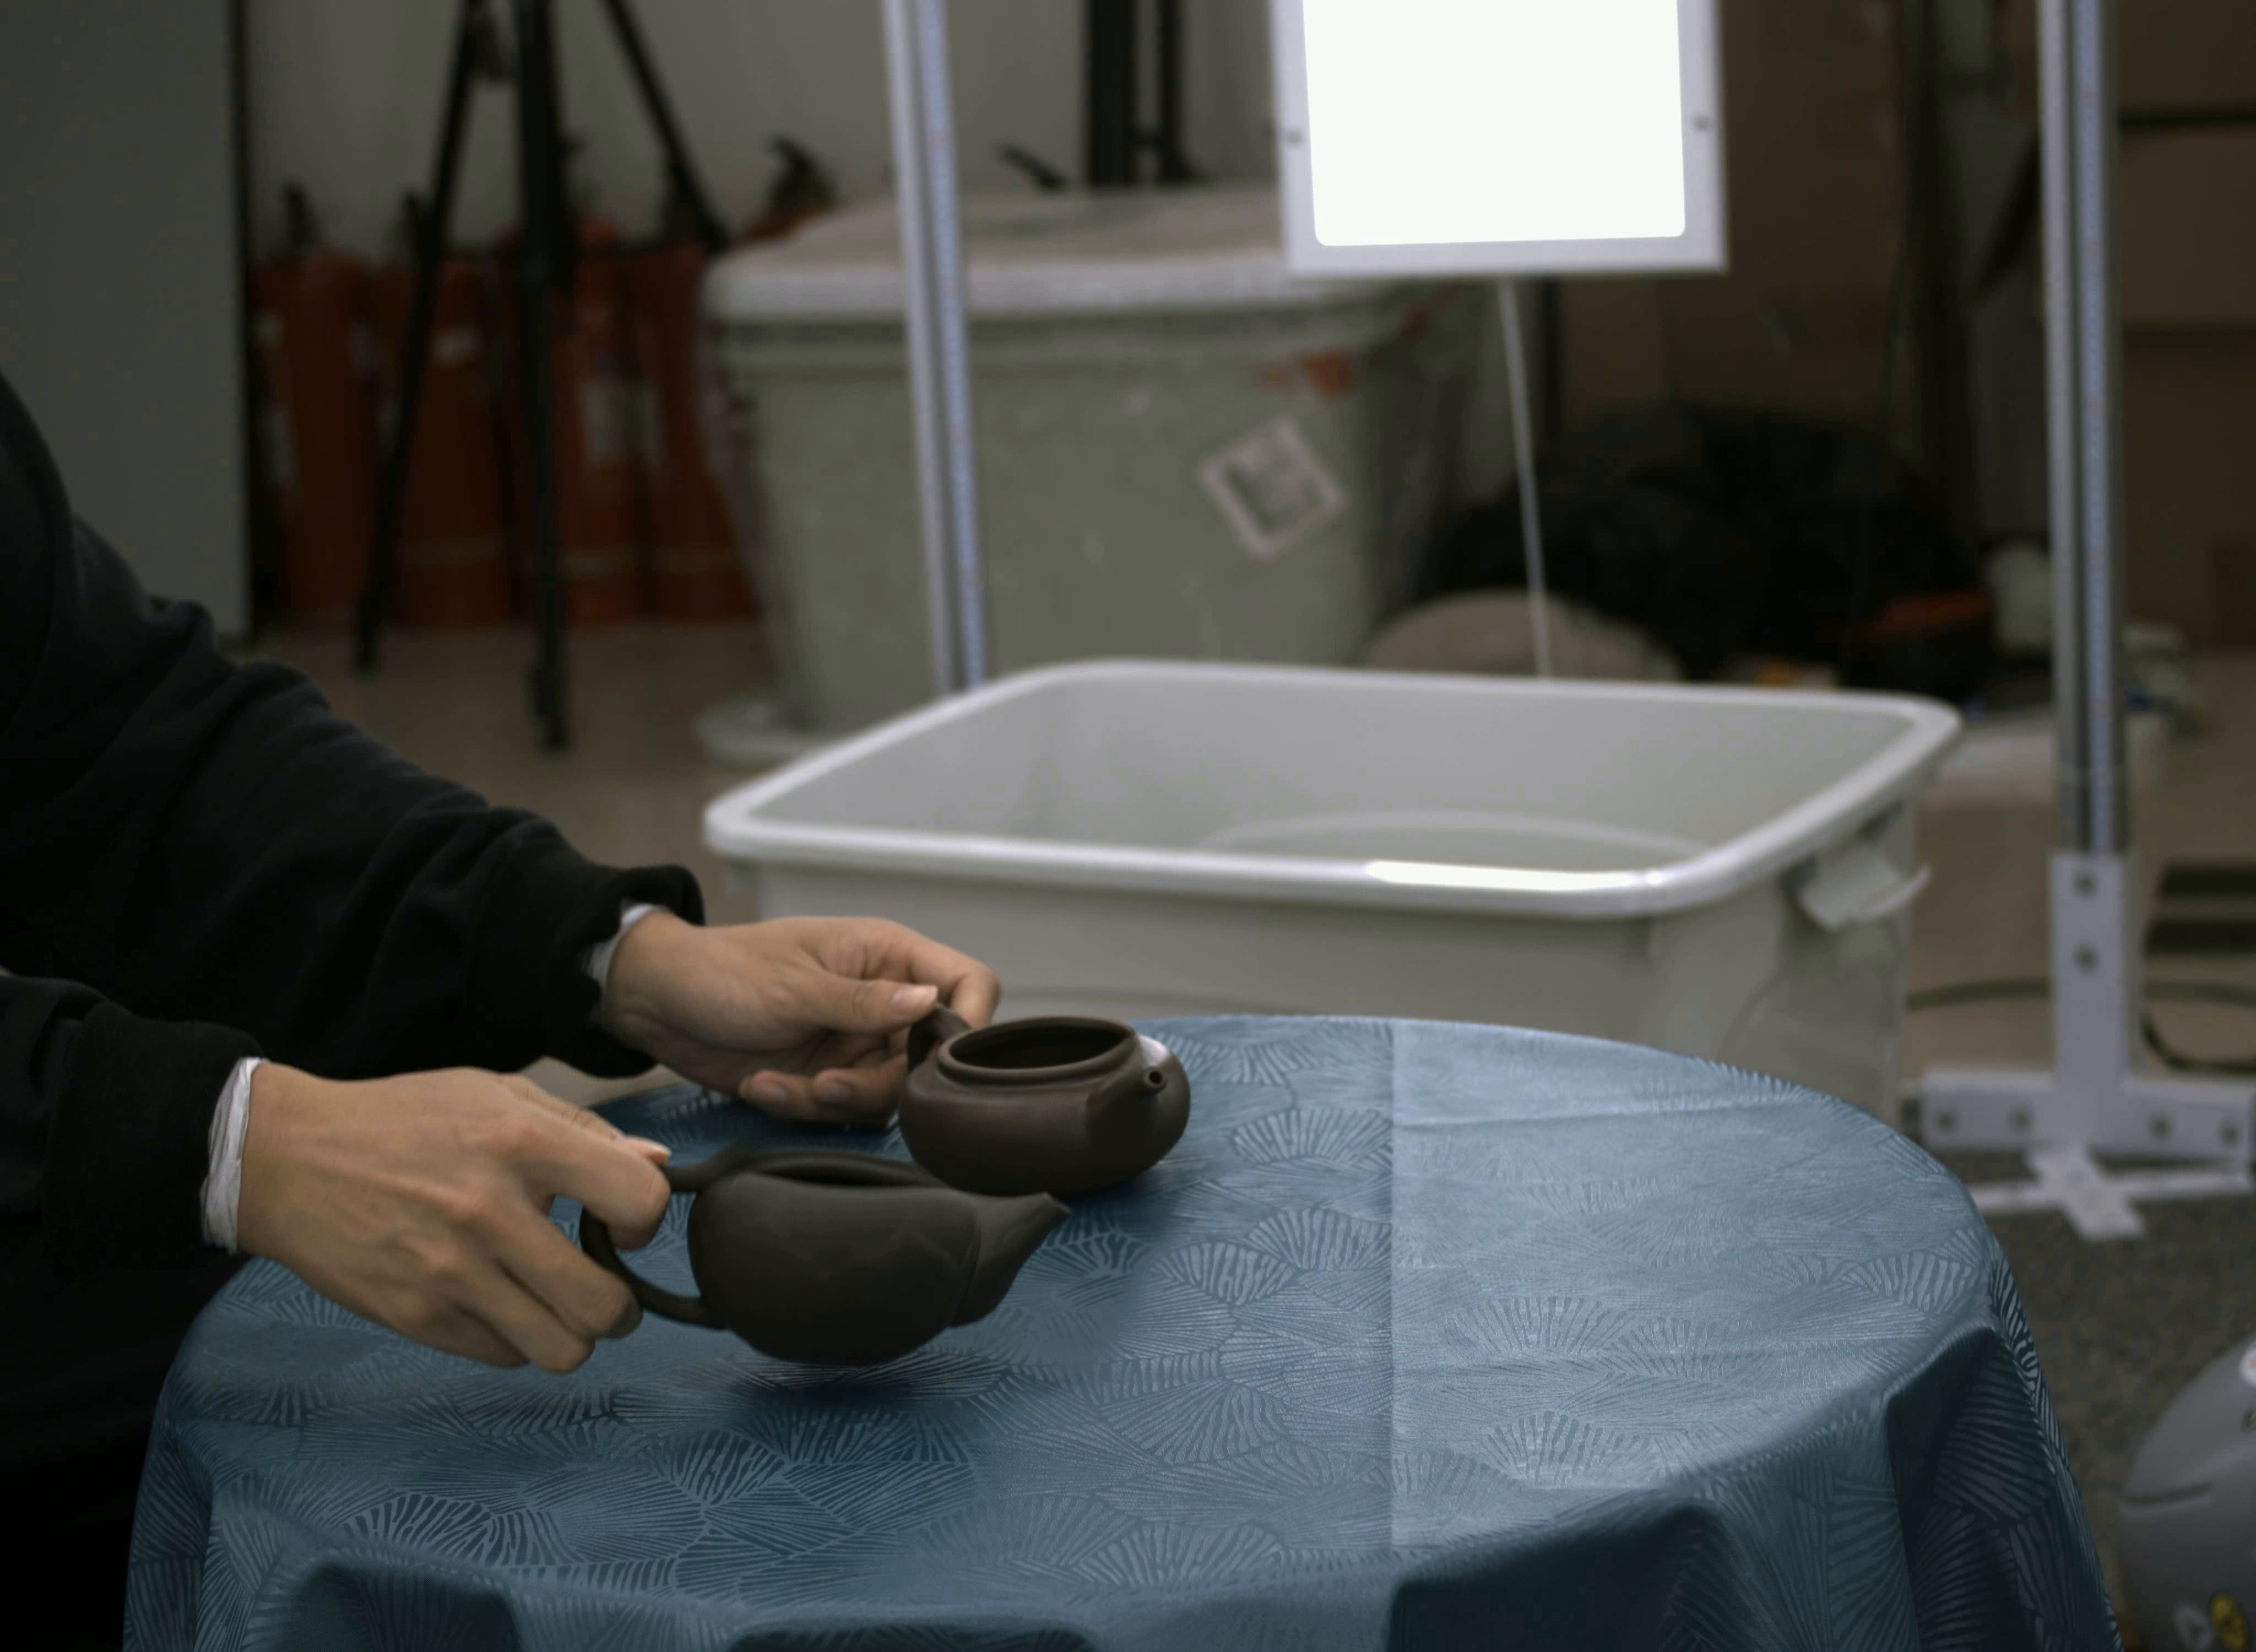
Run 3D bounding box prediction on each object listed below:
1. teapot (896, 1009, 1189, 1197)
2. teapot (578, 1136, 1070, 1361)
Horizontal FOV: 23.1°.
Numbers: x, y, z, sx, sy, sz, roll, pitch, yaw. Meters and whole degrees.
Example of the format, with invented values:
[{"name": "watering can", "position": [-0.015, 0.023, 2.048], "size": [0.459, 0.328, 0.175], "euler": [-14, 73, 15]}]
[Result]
[{"name": "teapot", "position": [-0.033, 0.095, 1.924], "size": [0.100, 0.054, 0.157], "euler": [-14, 16, -38]}, {"name": "teapot", "position": [-0.096, 0.131, 1.728], "size": [0.153, 0.064, 0.092], "euler": [5, 5, -4]}]
